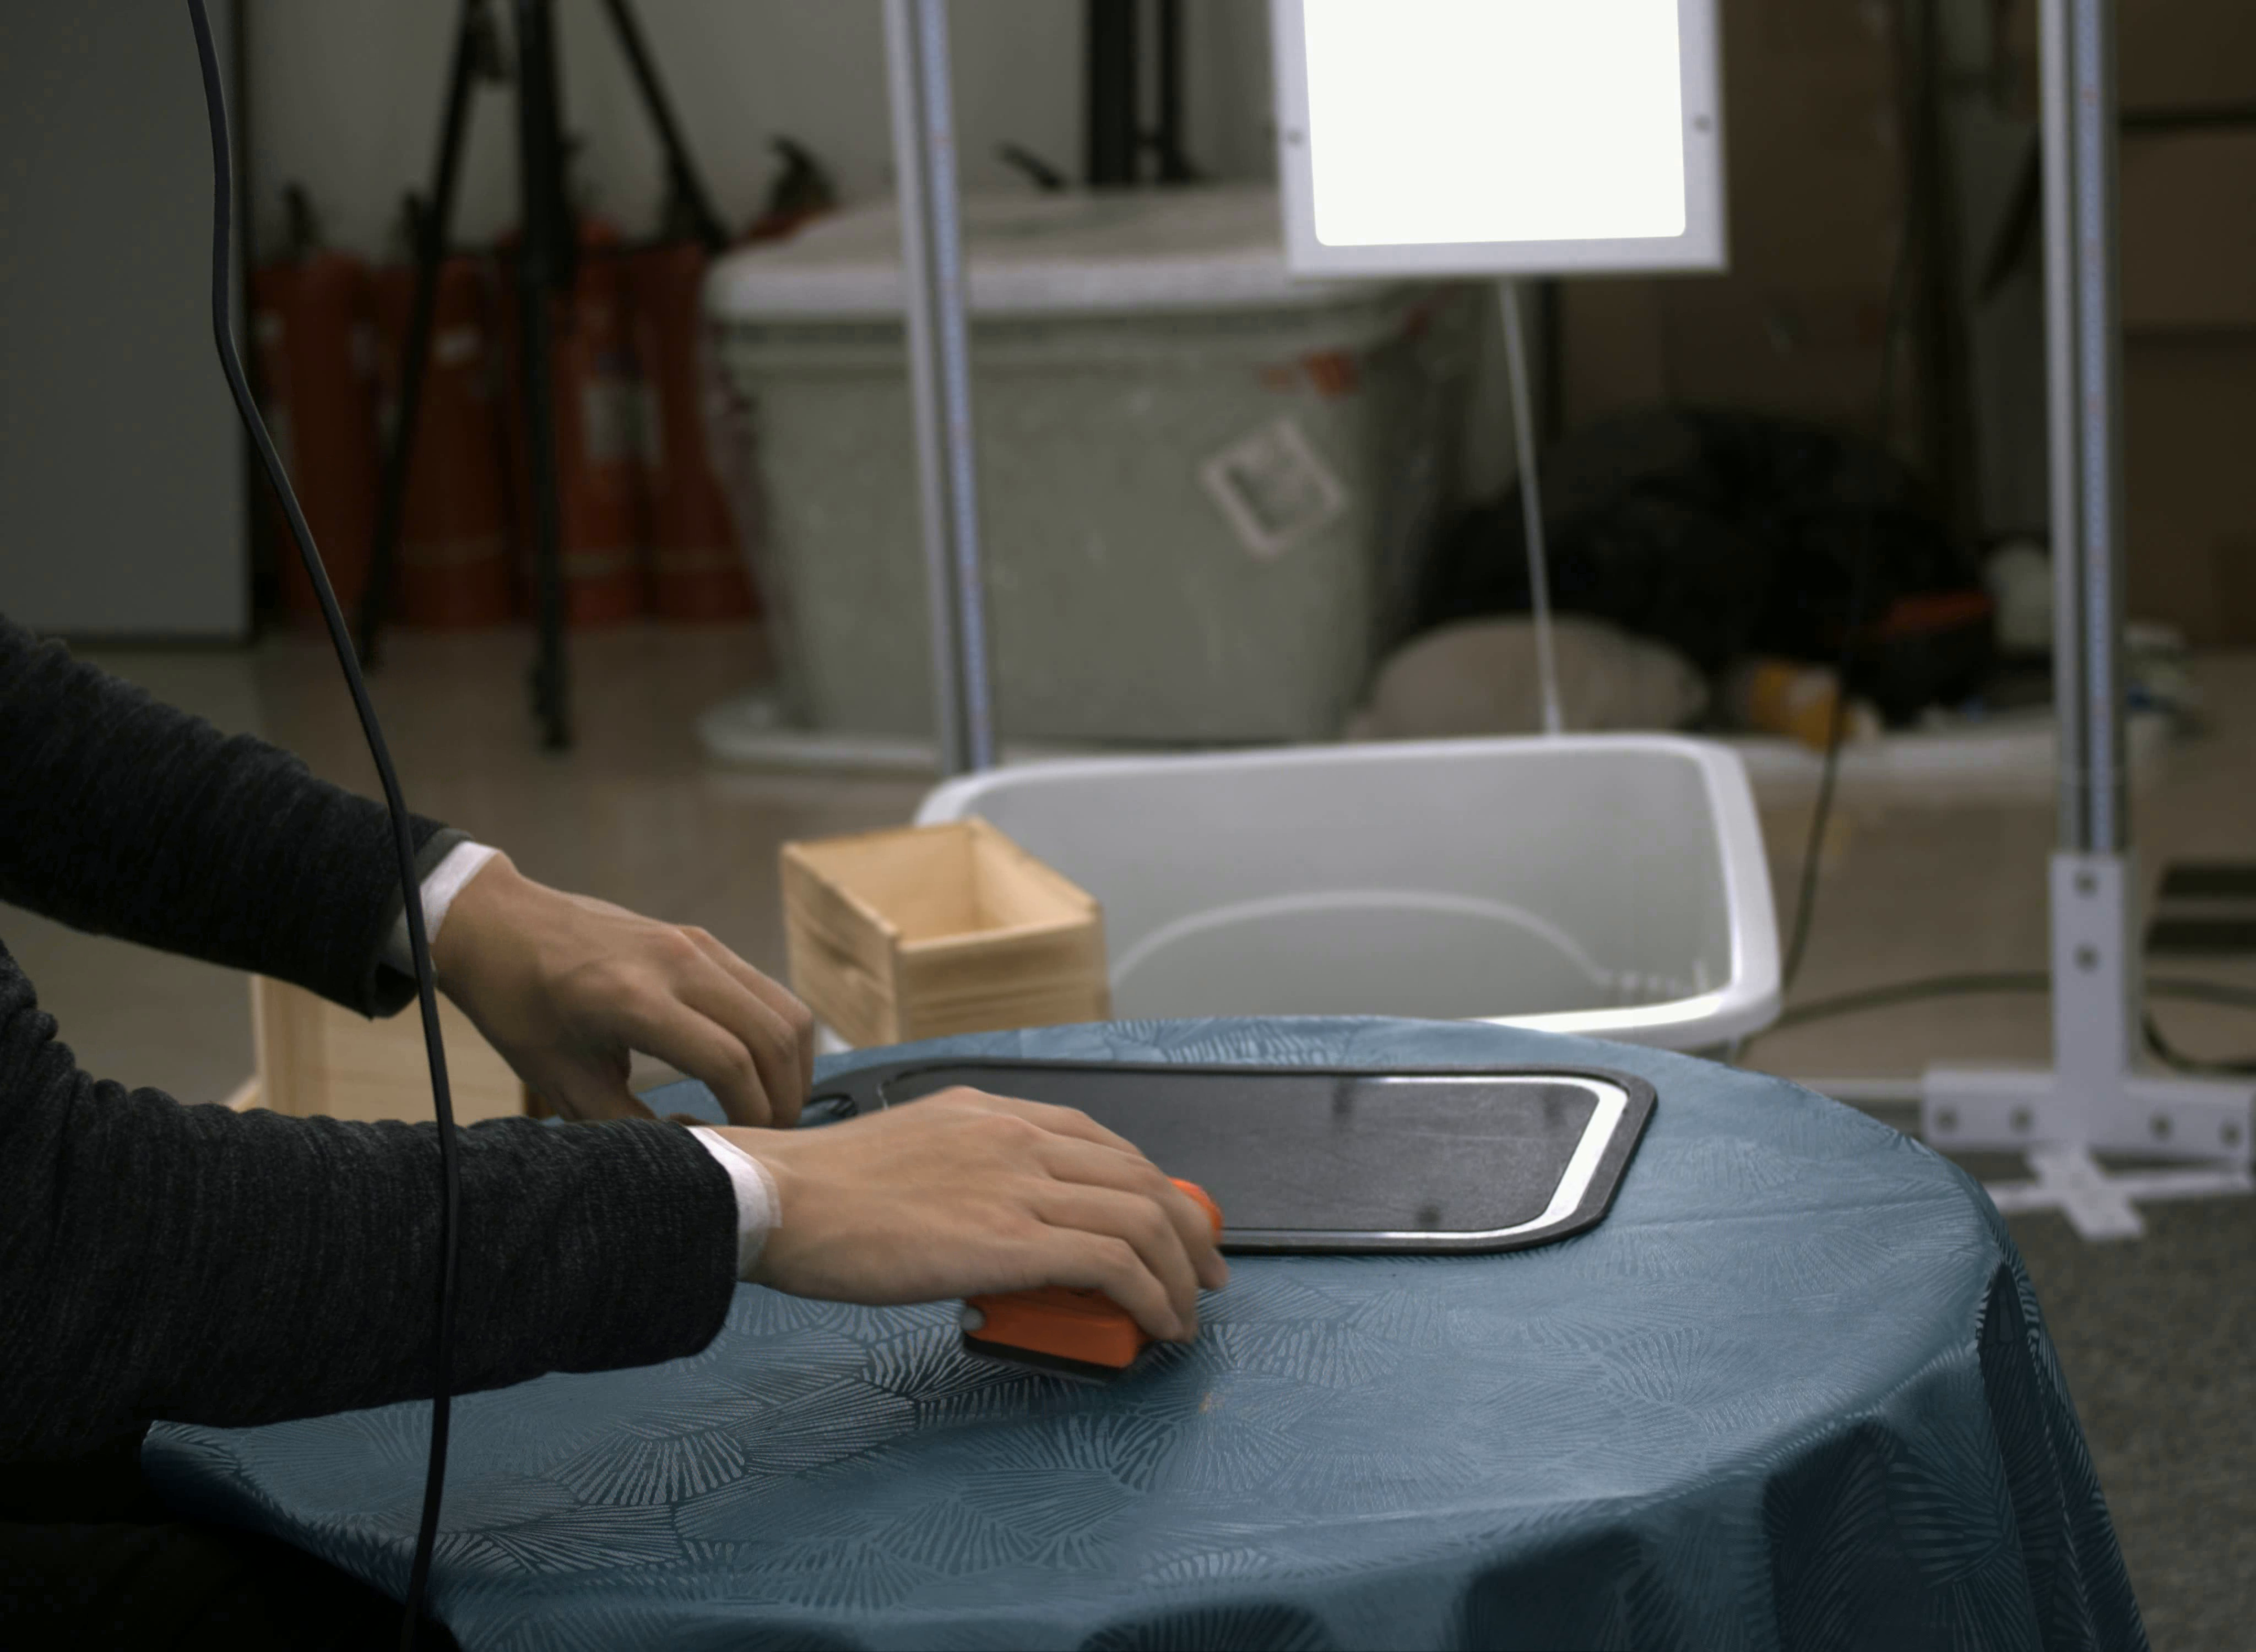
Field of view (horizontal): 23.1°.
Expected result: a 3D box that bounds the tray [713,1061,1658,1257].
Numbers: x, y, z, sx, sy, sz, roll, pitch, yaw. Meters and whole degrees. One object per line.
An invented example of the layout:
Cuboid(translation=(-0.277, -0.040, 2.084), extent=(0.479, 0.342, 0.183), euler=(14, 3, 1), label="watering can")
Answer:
Cuboid(translation=(0.016, 0.113, 1.928), extent=(0.329, 0.010, 0.208), euler=(0, 14, 16), label="tray")

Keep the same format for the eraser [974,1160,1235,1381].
Cuboid(translation=(-0.006, 0.140, 1.747), extent=(0.060, 0.023, 0.106), euler=(5, 24, 19), label="eraser")
